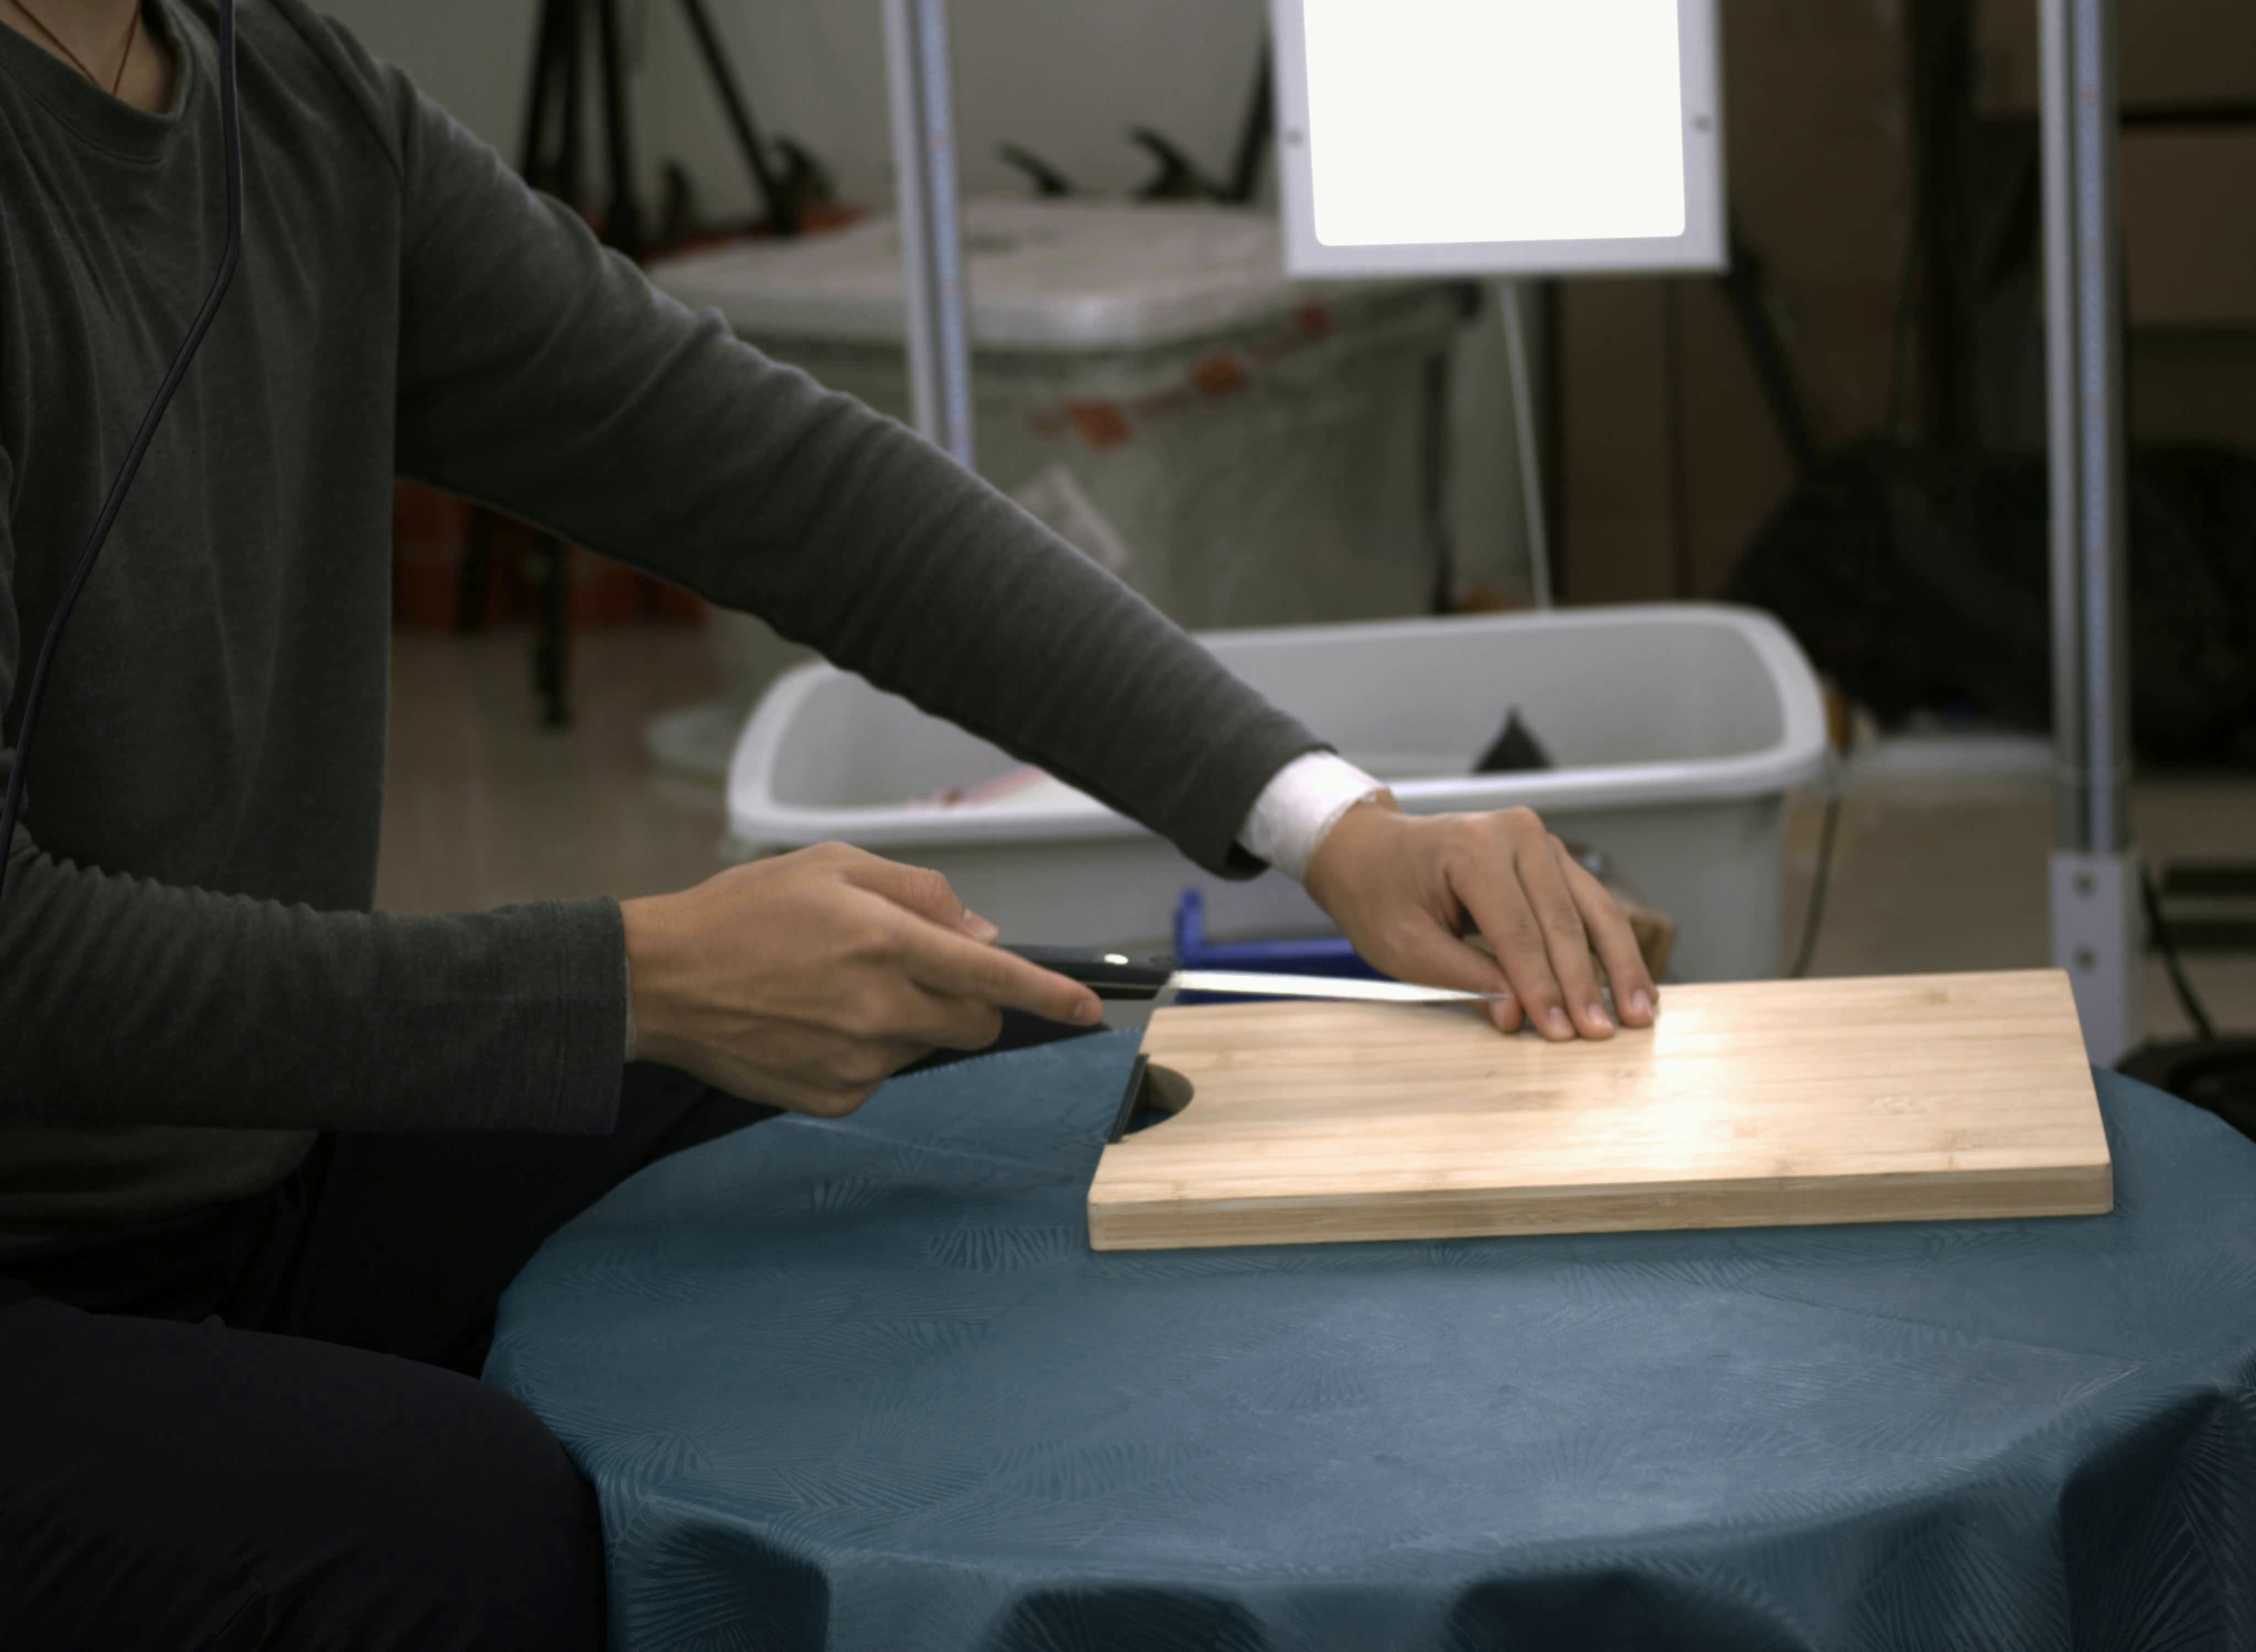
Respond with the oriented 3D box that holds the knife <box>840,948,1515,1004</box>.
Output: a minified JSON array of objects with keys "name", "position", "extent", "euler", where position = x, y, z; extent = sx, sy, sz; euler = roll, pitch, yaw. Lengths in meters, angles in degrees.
[{"name":"knife","position":[0.018,0.055,1.921],"extent":[0.237,0.016,0.024],"euler":[2,11,-1]}]

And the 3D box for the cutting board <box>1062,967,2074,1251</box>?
[{"name":"cutting board","position":[0.161,0.098,1.928],"extent":[0.350,0.023,0.249],"euler":[-3,13,8]}]
